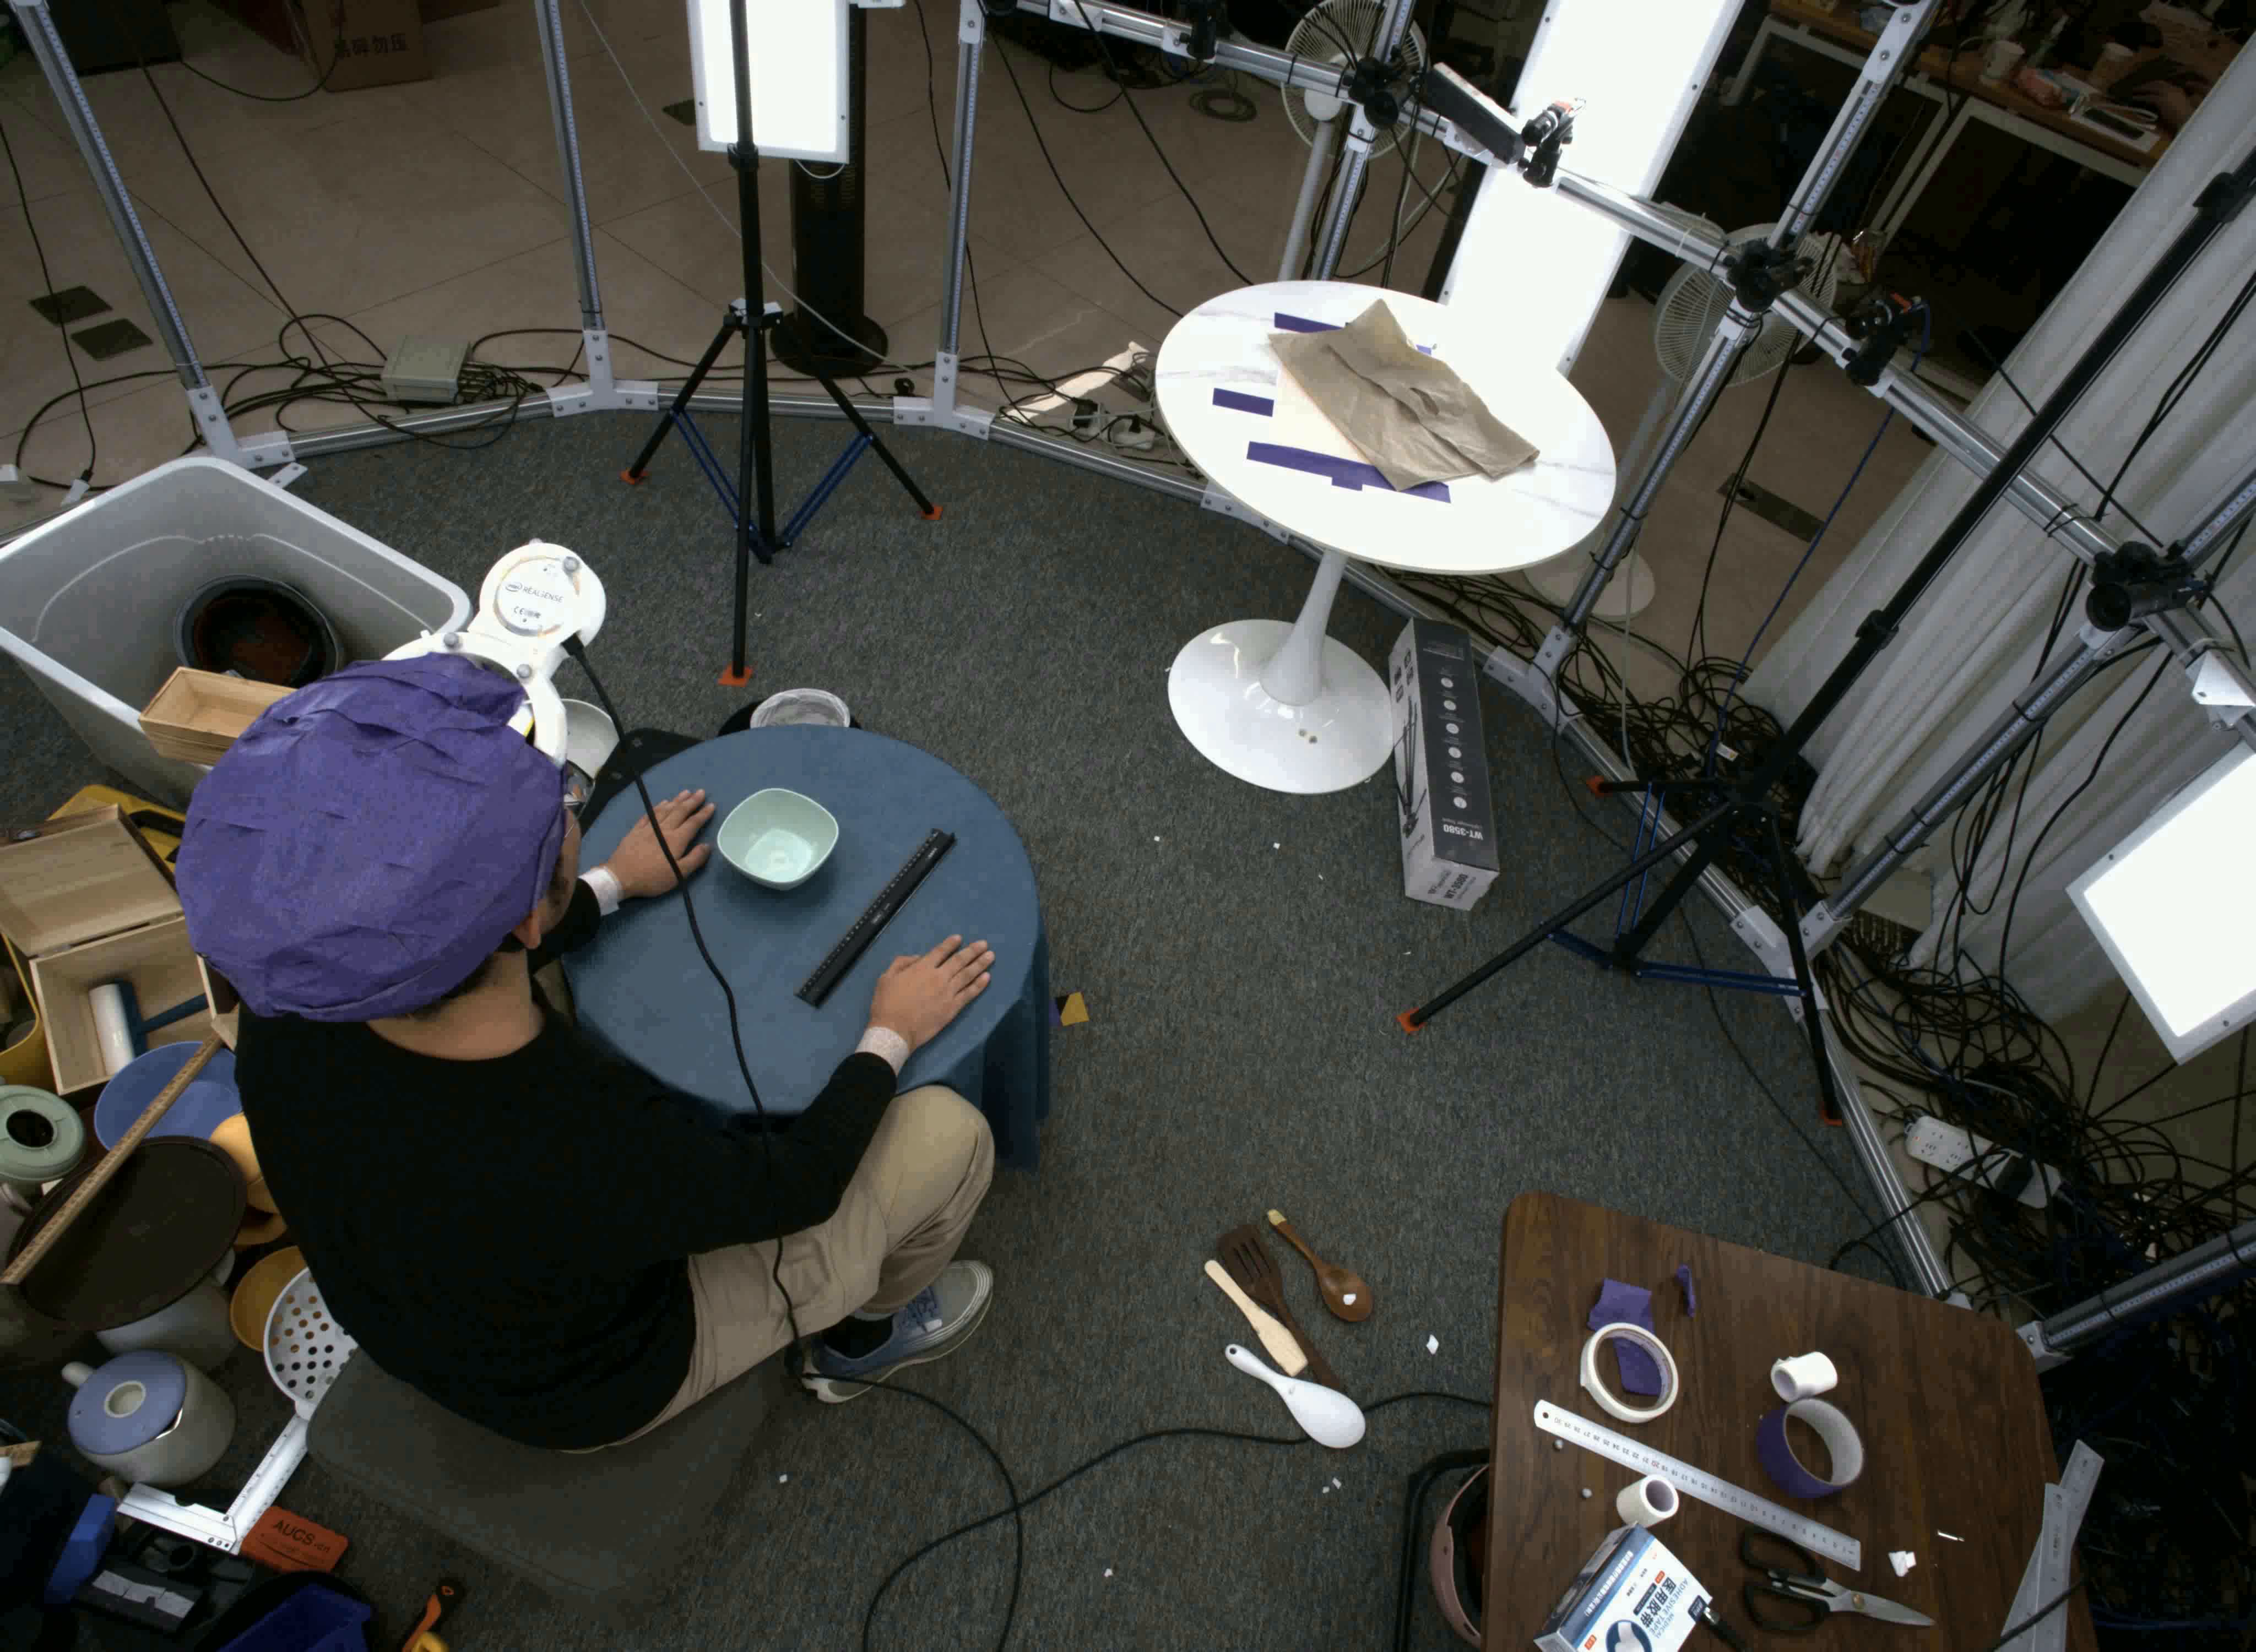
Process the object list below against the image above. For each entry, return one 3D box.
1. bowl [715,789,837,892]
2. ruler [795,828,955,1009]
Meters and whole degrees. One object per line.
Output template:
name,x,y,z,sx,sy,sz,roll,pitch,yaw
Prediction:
bowl,-0.448,0.027,1.656,0.151,0.060,0.148,9,50,-10
ruler,-0.318,0.105,1.658,0.038,0.017,0.311,27,52,11
